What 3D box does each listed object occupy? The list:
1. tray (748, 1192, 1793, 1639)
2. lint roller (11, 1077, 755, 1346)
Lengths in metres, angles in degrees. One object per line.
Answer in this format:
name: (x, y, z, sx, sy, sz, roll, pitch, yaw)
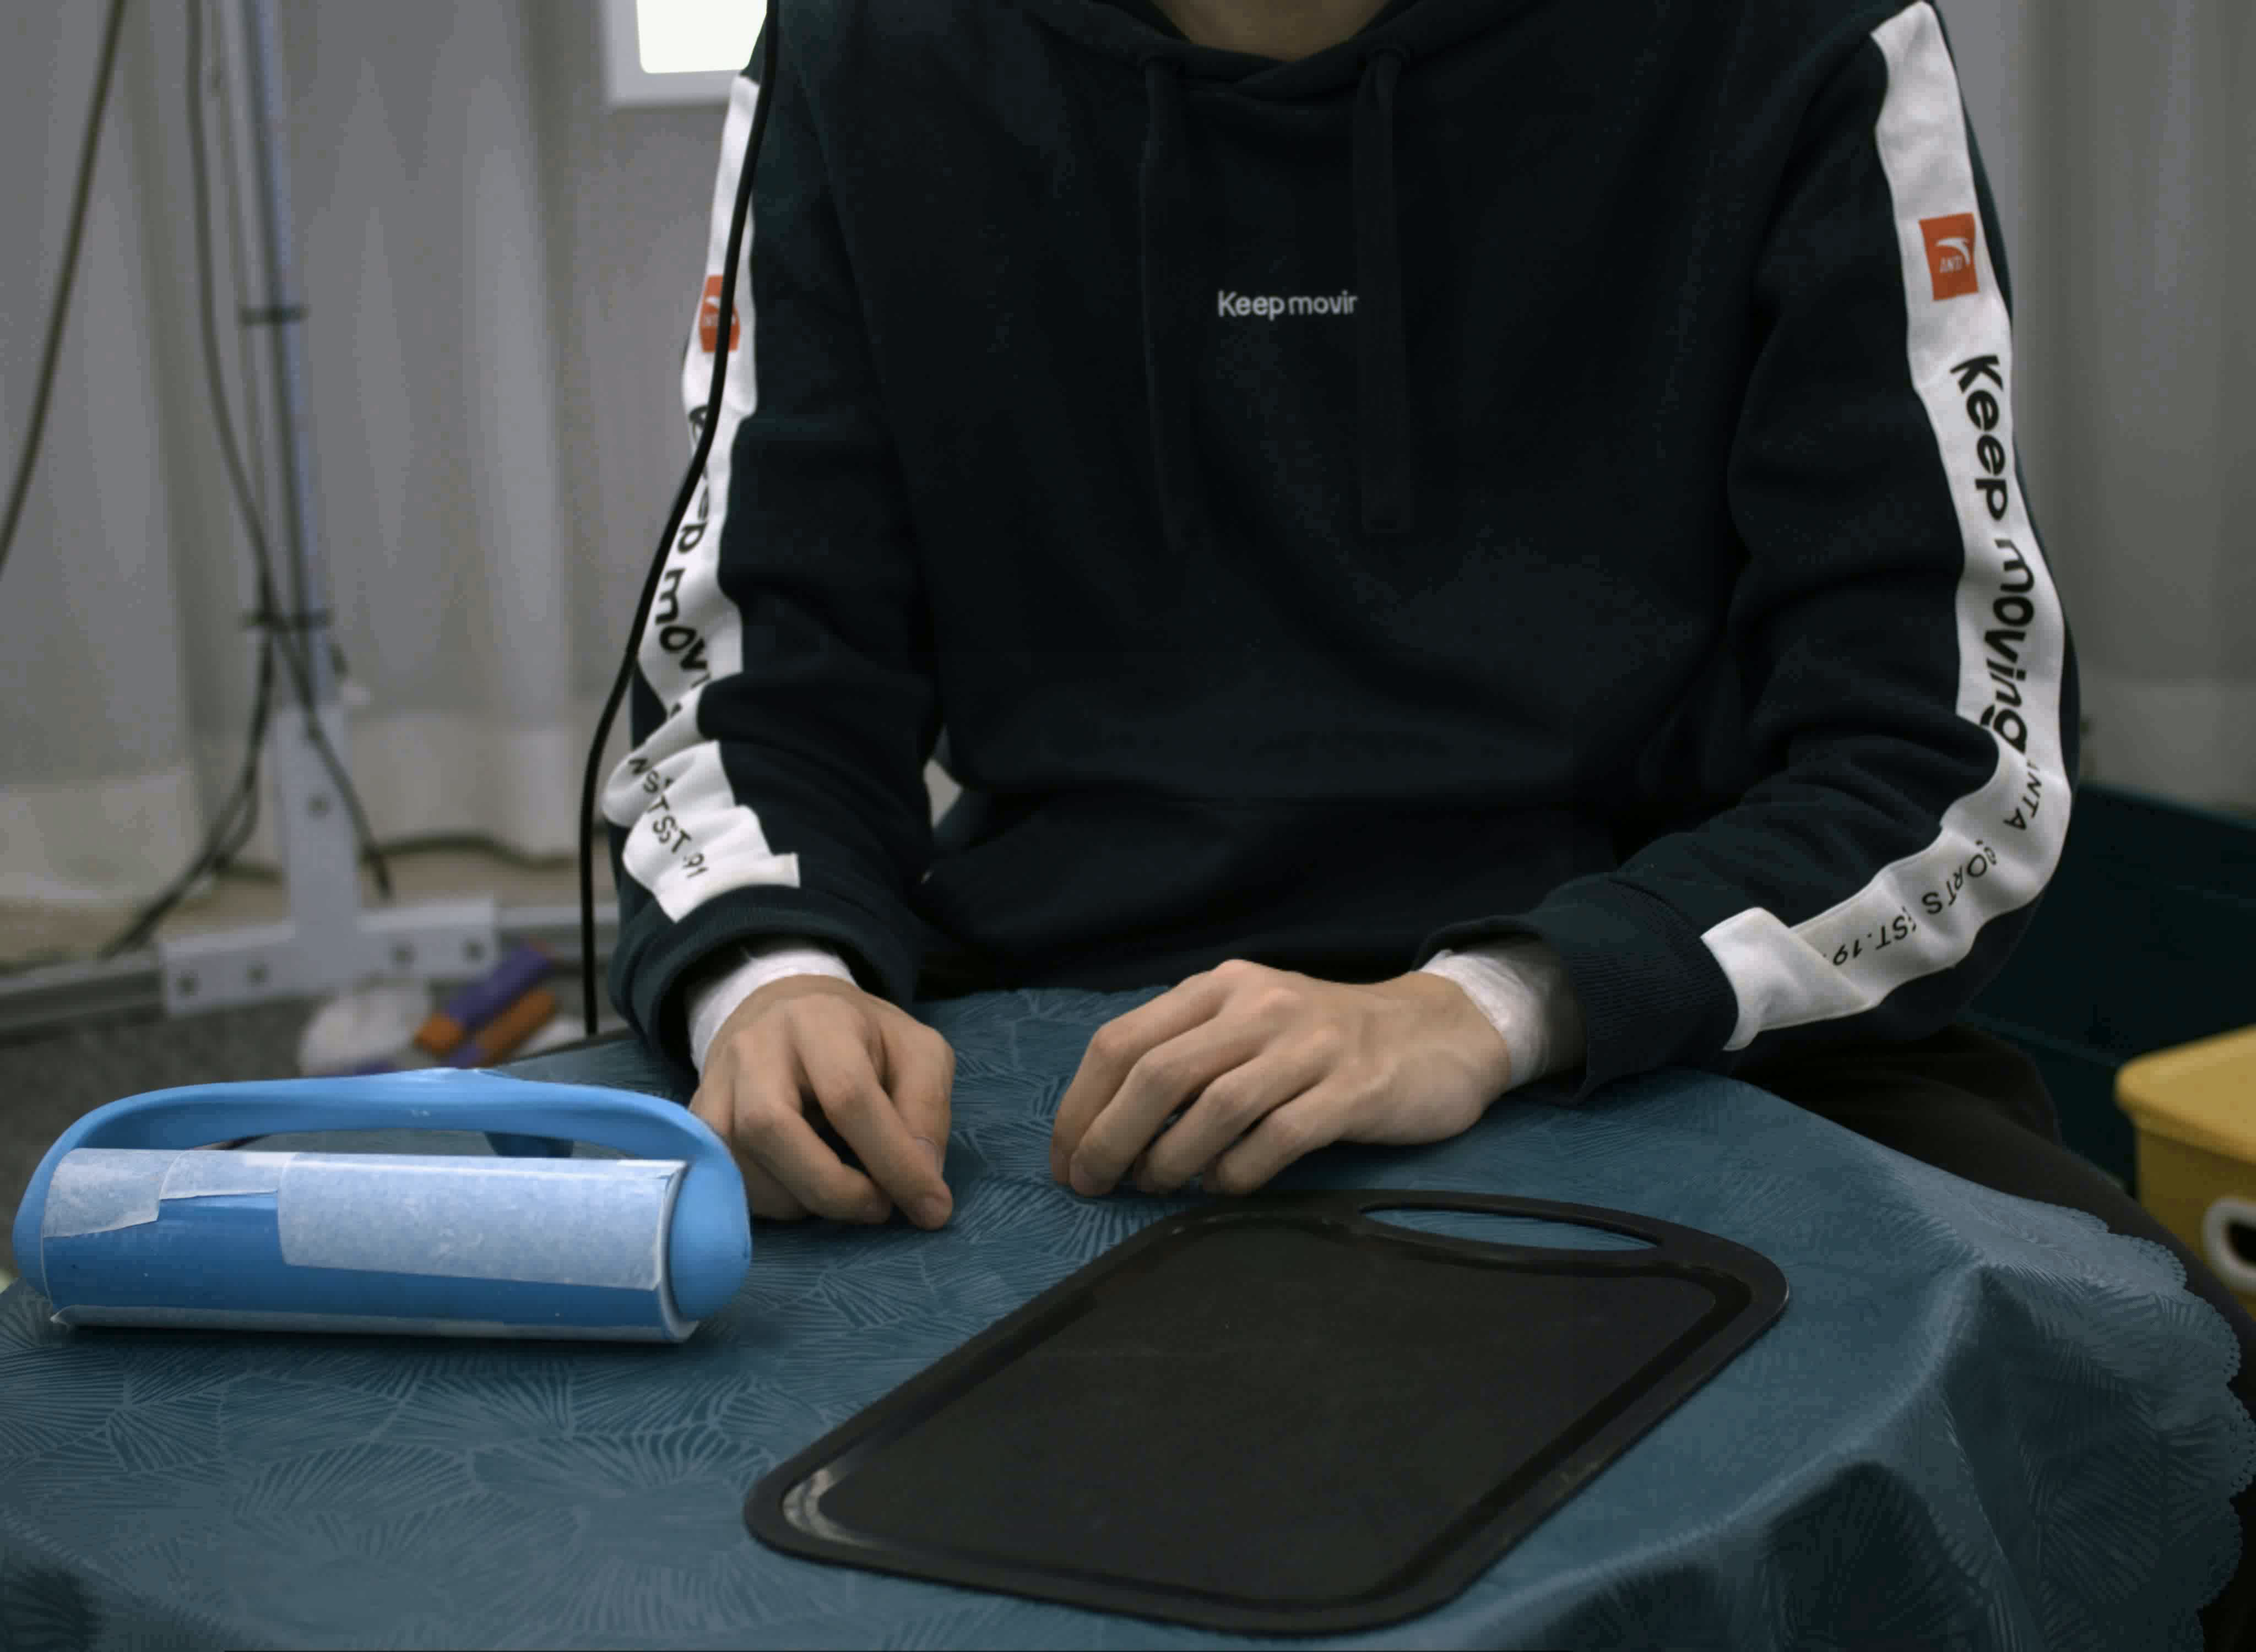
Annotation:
tray: (0.049, 0.156, 1.538, 0.211, 0.010, 0.326, 5, 17, 29)
lint roller: (-0.212, 0.108, 1.675, 0.228, 0.067, 0.181, -2, 16, 11)
